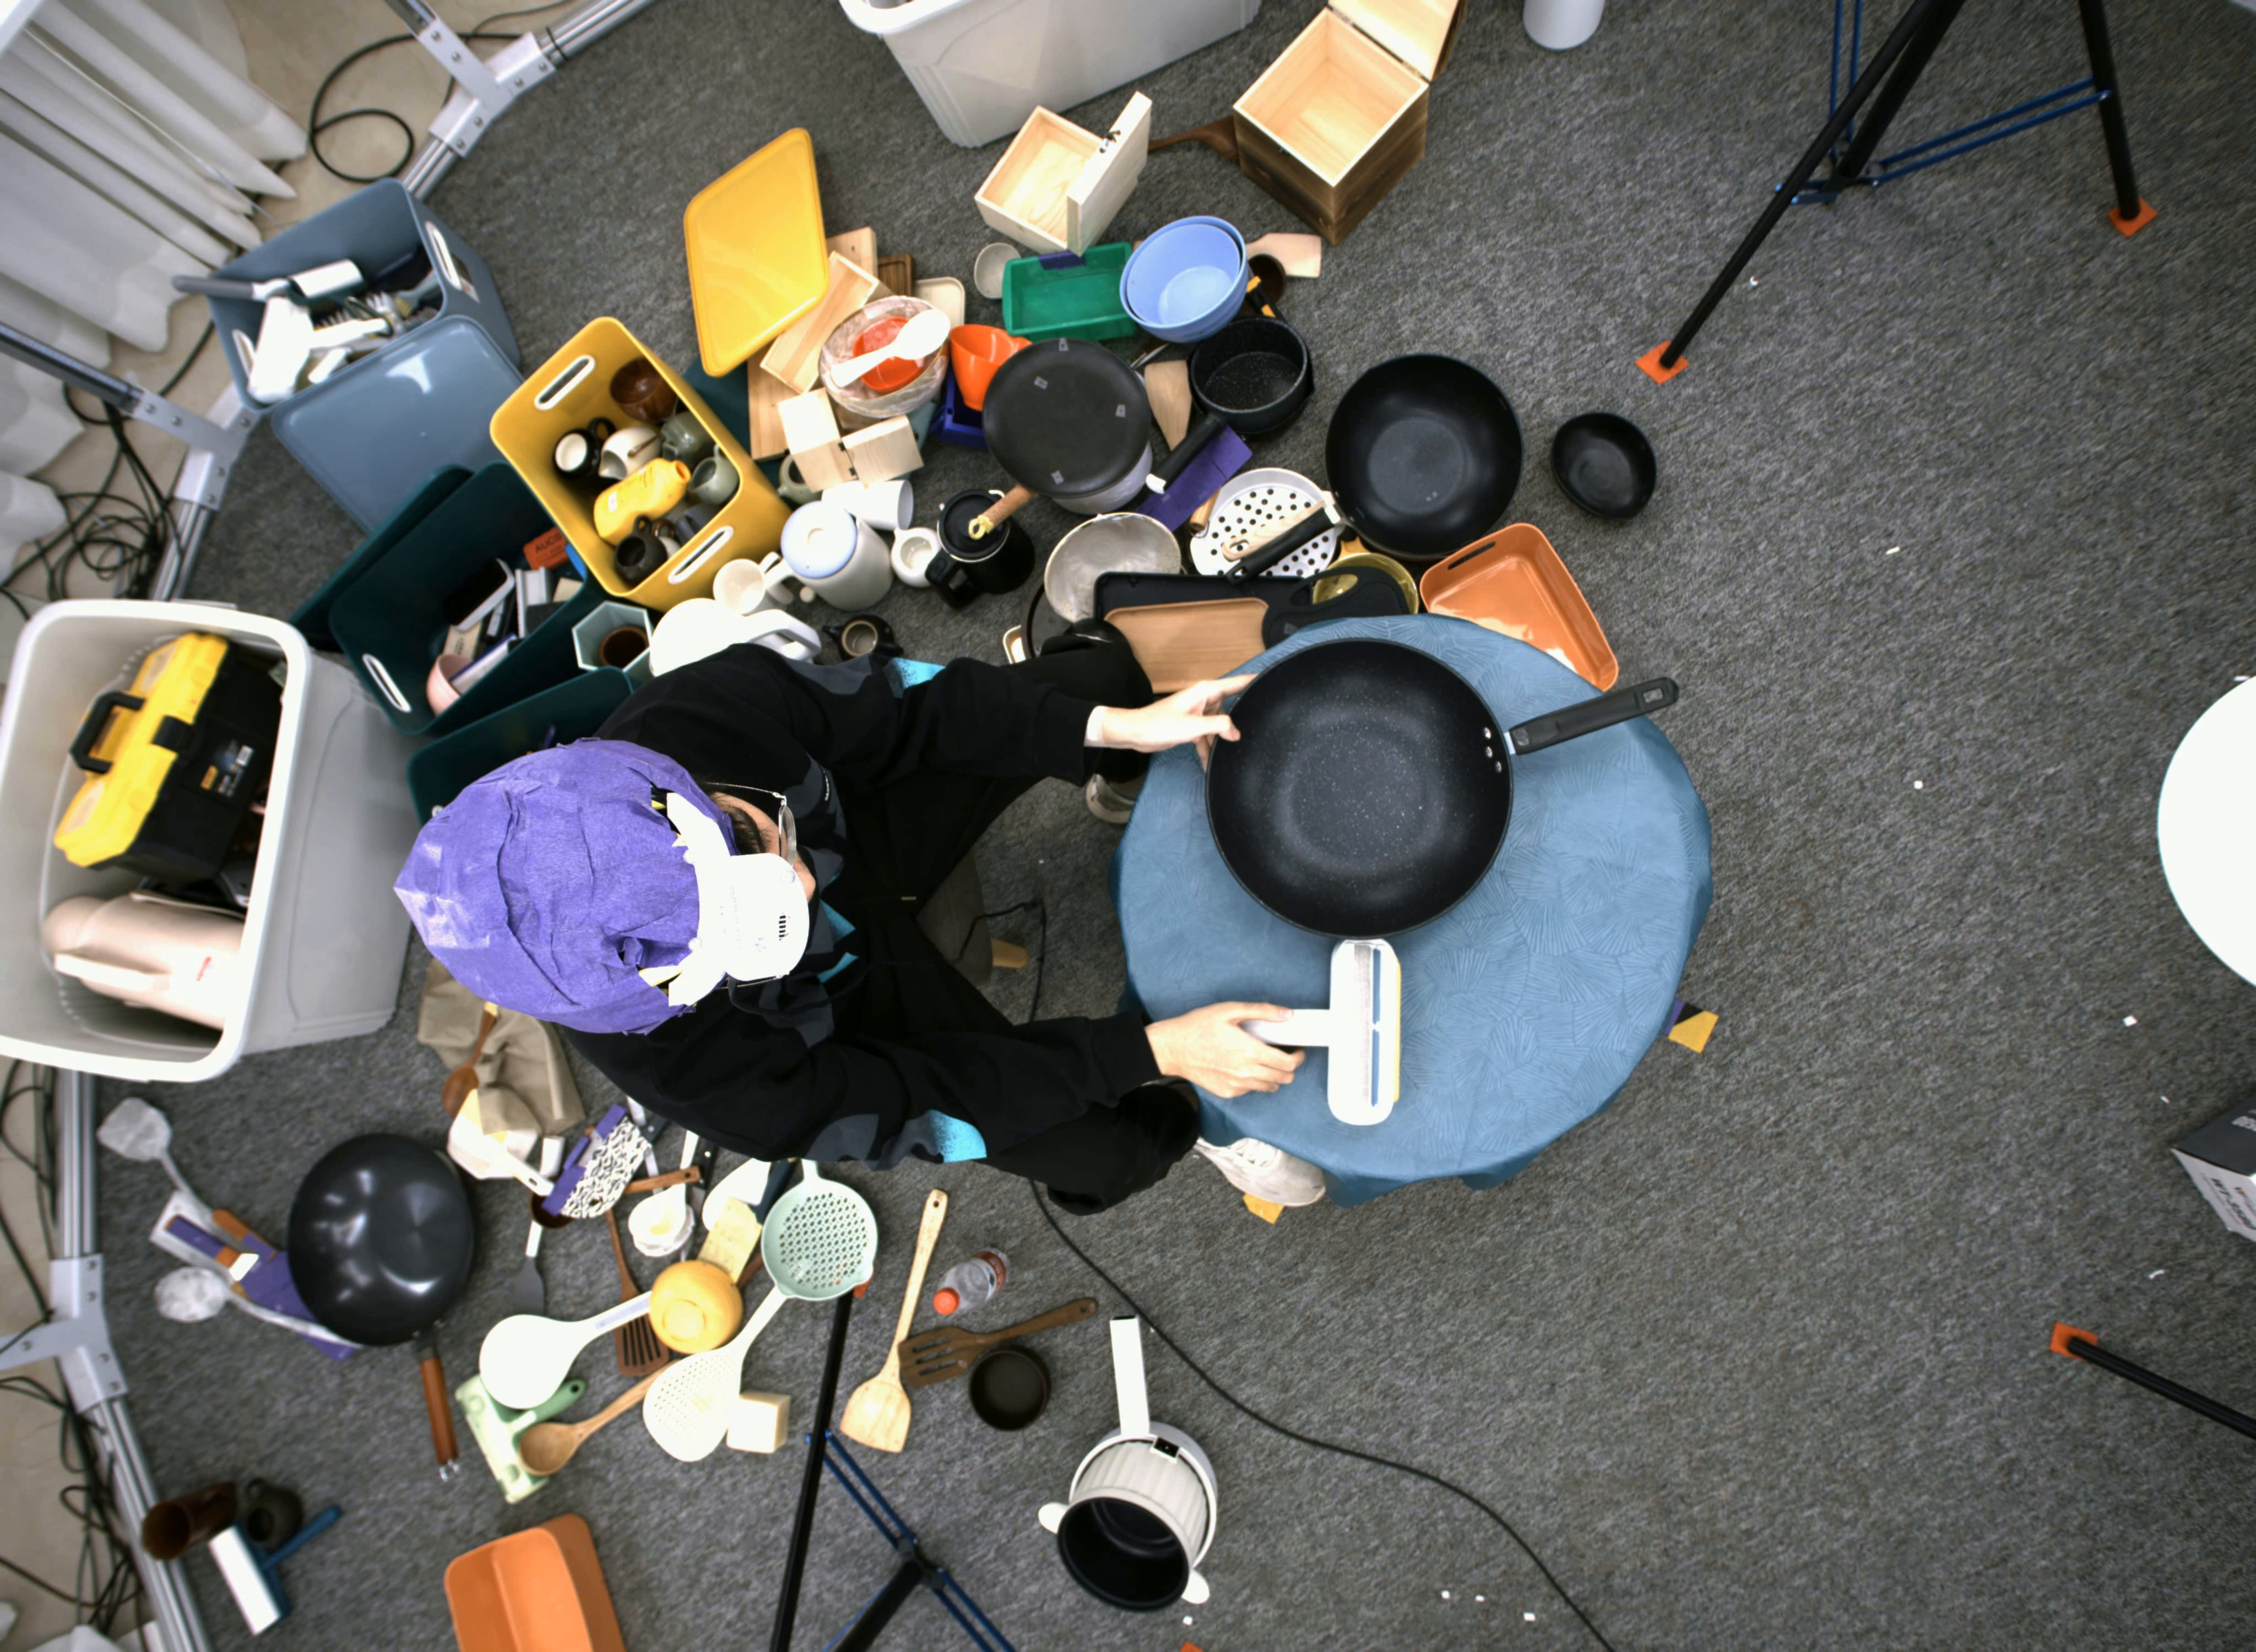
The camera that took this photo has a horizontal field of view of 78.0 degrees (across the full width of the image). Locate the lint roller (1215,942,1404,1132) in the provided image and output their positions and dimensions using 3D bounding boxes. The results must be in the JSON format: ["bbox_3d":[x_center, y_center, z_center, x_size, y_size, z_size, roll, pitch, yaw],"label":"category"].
[{"bbox_3d":[0.182,0.210,1.430,0.193,0.074,0.191,4,83,12],"label":"lint roller"}]

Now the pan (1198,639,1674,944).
[{"bbox_3d":[0.308,-0.059,1.401,0.479,0.111,0.309,-17,86,9],"label":"pan"}]
